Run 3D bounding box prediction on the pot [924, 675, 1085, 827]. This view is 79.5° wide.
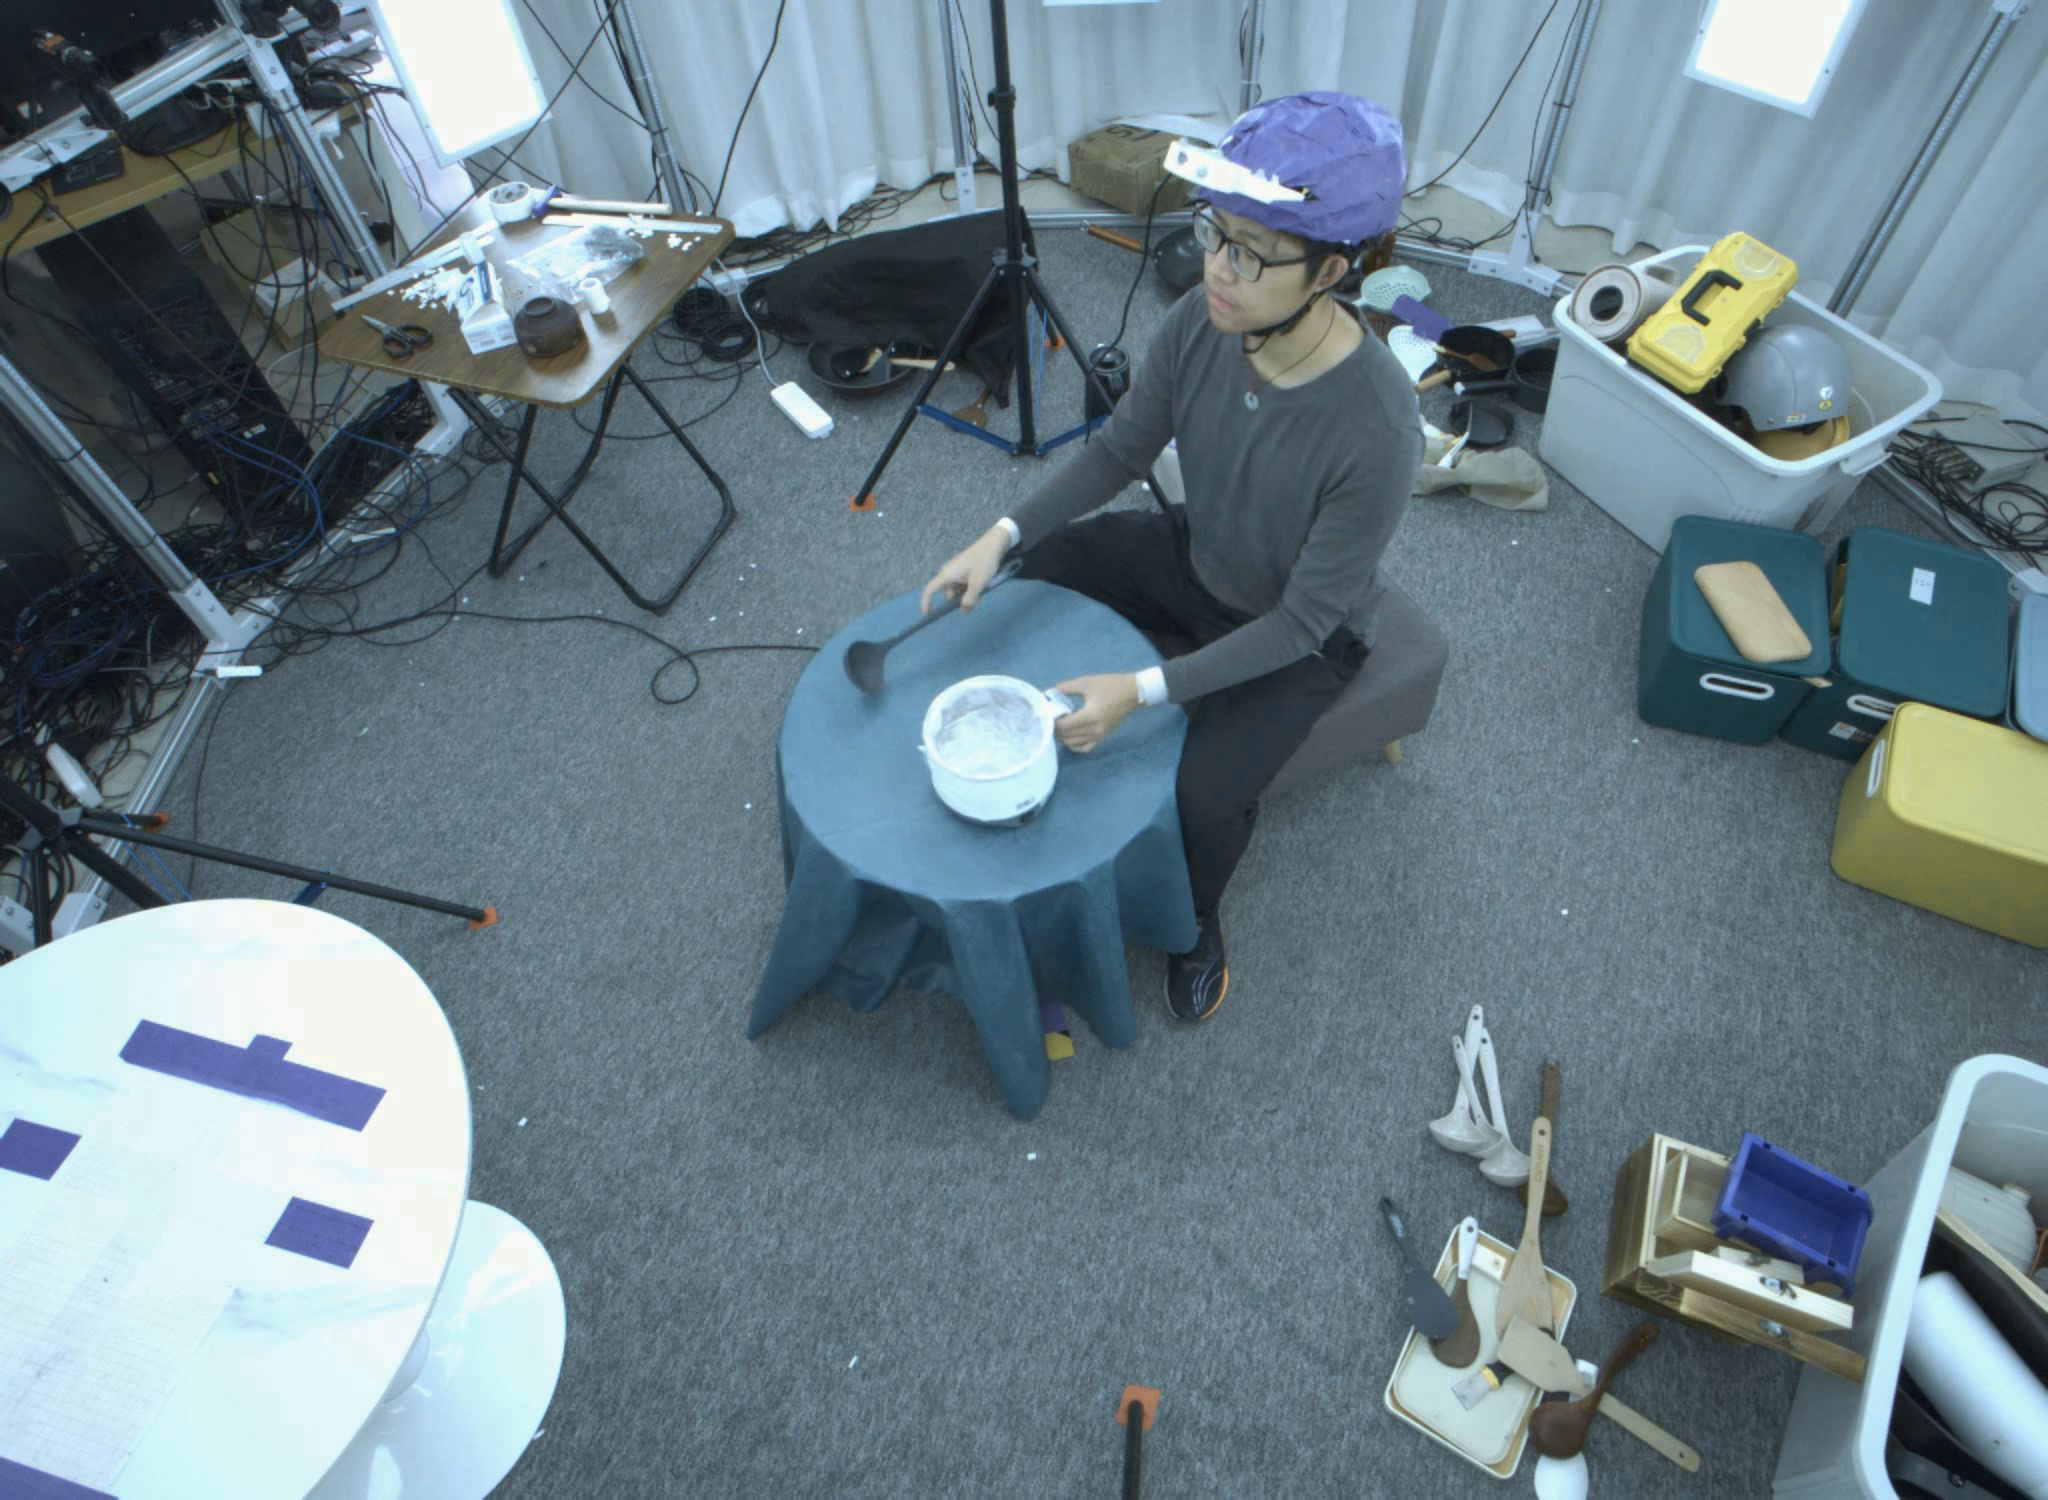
[{"bbox_3d":[-0.020,-0.008,1.716,0.235,0.138,0.175,-29,59,-17],"label":"pot"}]

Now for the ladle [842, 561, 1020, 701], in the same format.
[{"bbox_3d":[-0.131,-0.186,1.821,0.314,0.088,0.062,-33,35,-5],"label":"ladle"}]
